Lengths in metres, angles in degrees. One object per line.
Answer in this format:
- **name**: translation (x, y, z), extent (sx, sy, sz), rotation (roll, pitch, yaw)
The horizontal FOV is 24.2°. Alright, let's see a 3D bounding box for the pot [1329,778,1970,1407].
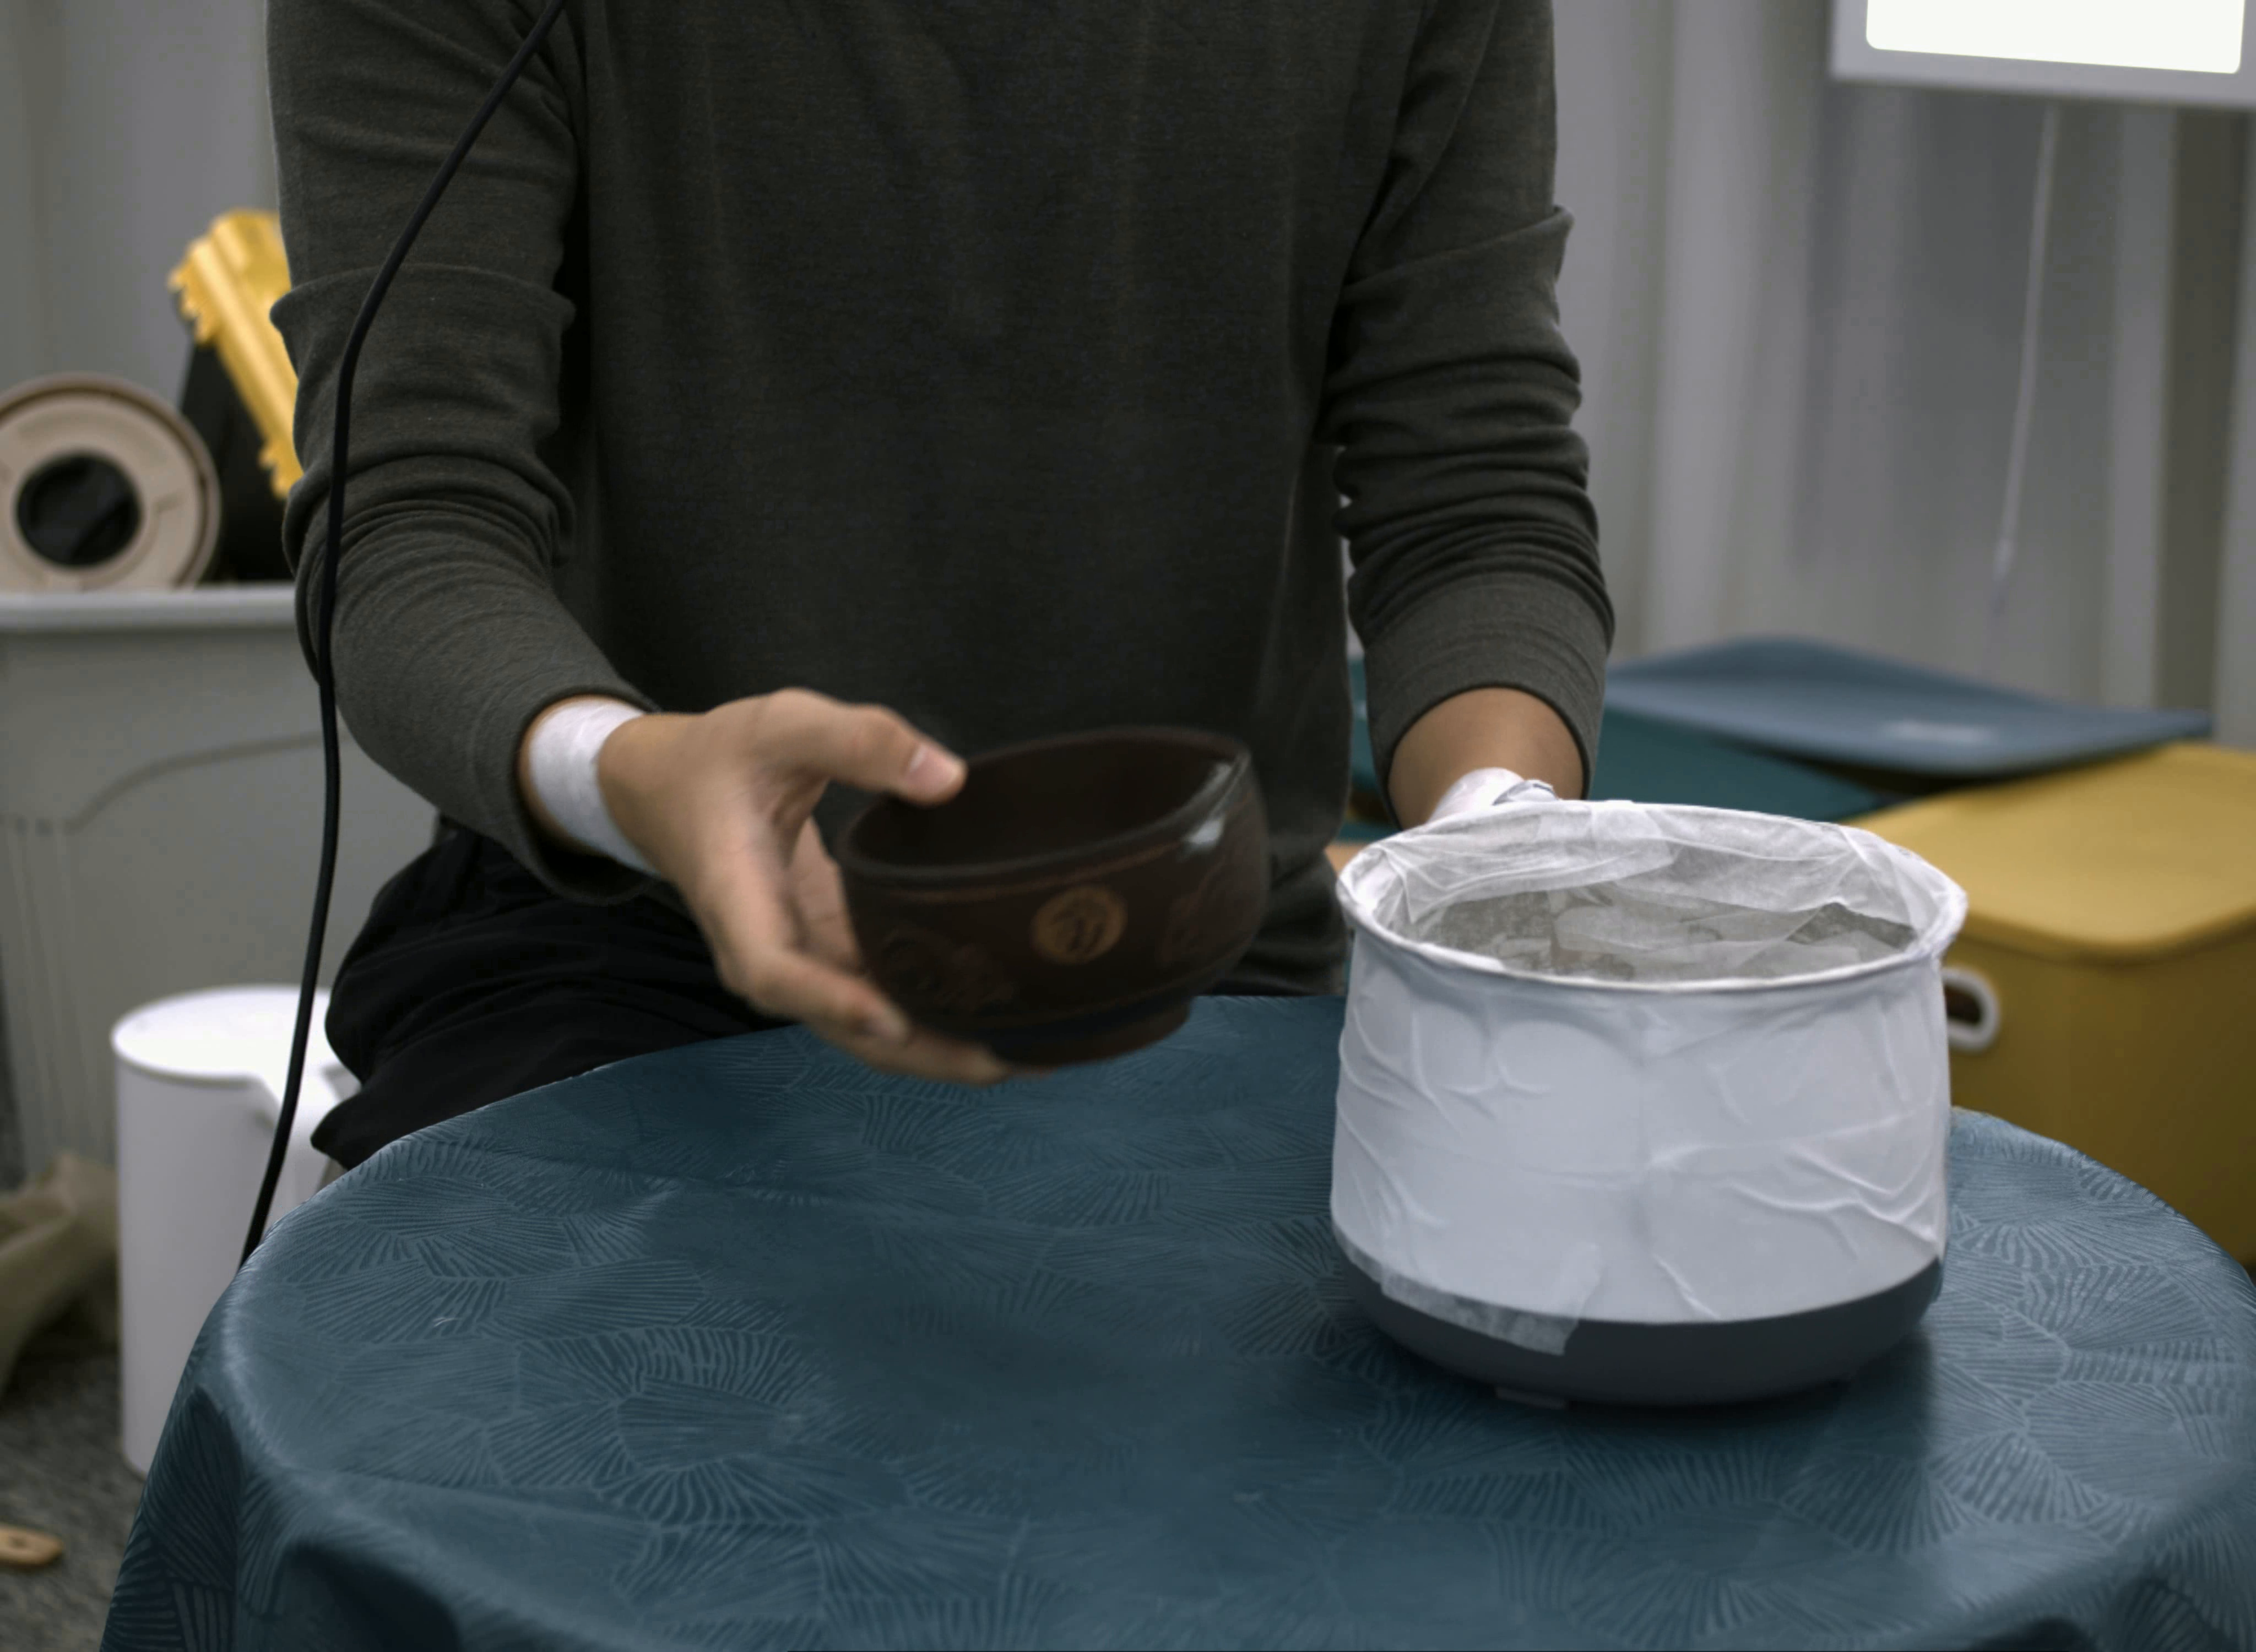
- **pot**: translation (0.138, 0.071, 1.518), extent (0.179, 0.138, 0.231), rotation (-4, 17, -17)

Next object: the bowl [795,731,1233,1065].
- **bowl**: translation (-0.027, 0.023, 1.429), extent (0.117, 0.070, 0.117), rotation (-14, 11, 3)
